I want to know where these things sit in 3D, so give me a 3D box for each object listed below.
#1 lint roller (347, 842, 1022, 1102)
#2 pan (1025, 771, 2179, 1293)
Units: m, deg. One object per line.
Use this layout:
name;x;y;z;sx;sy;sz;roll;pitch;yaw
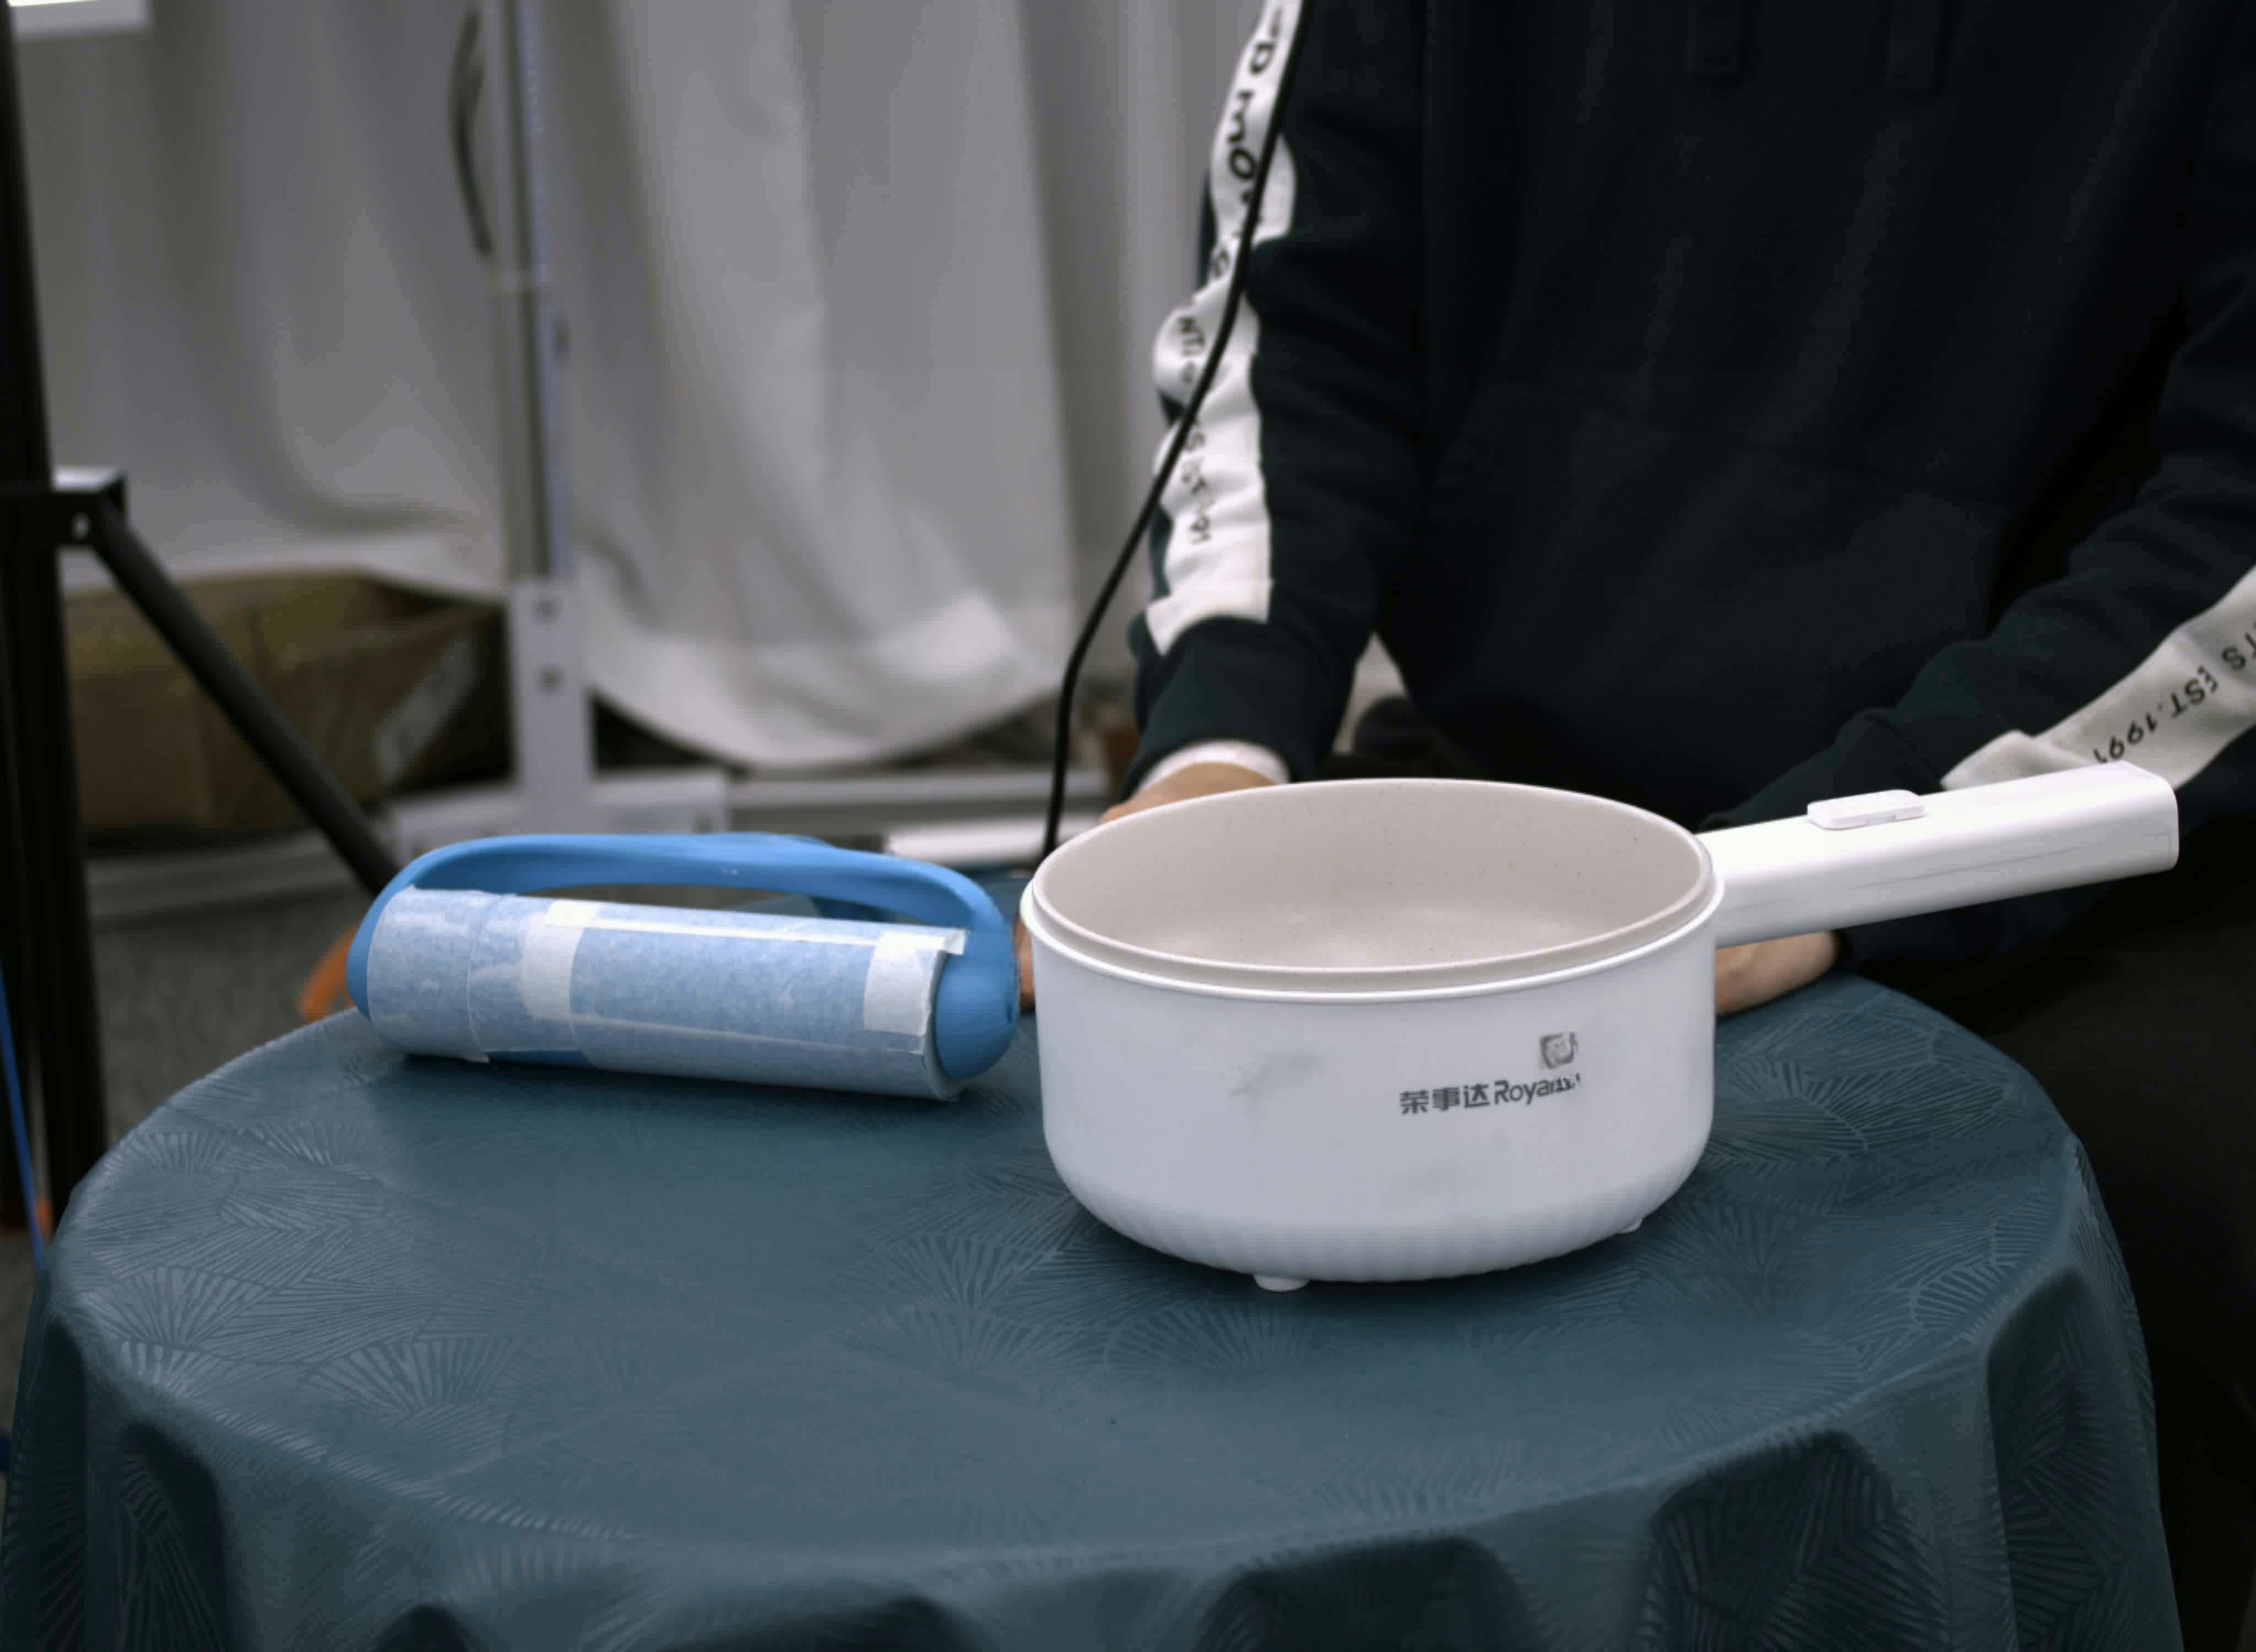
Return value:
lint roller;-0.124;0.035;1.731;0.231;0.068;0.178;1;17;20
pan;0.143;0.053;1.547;0.348;0.102;0.204;-7;16;-17
